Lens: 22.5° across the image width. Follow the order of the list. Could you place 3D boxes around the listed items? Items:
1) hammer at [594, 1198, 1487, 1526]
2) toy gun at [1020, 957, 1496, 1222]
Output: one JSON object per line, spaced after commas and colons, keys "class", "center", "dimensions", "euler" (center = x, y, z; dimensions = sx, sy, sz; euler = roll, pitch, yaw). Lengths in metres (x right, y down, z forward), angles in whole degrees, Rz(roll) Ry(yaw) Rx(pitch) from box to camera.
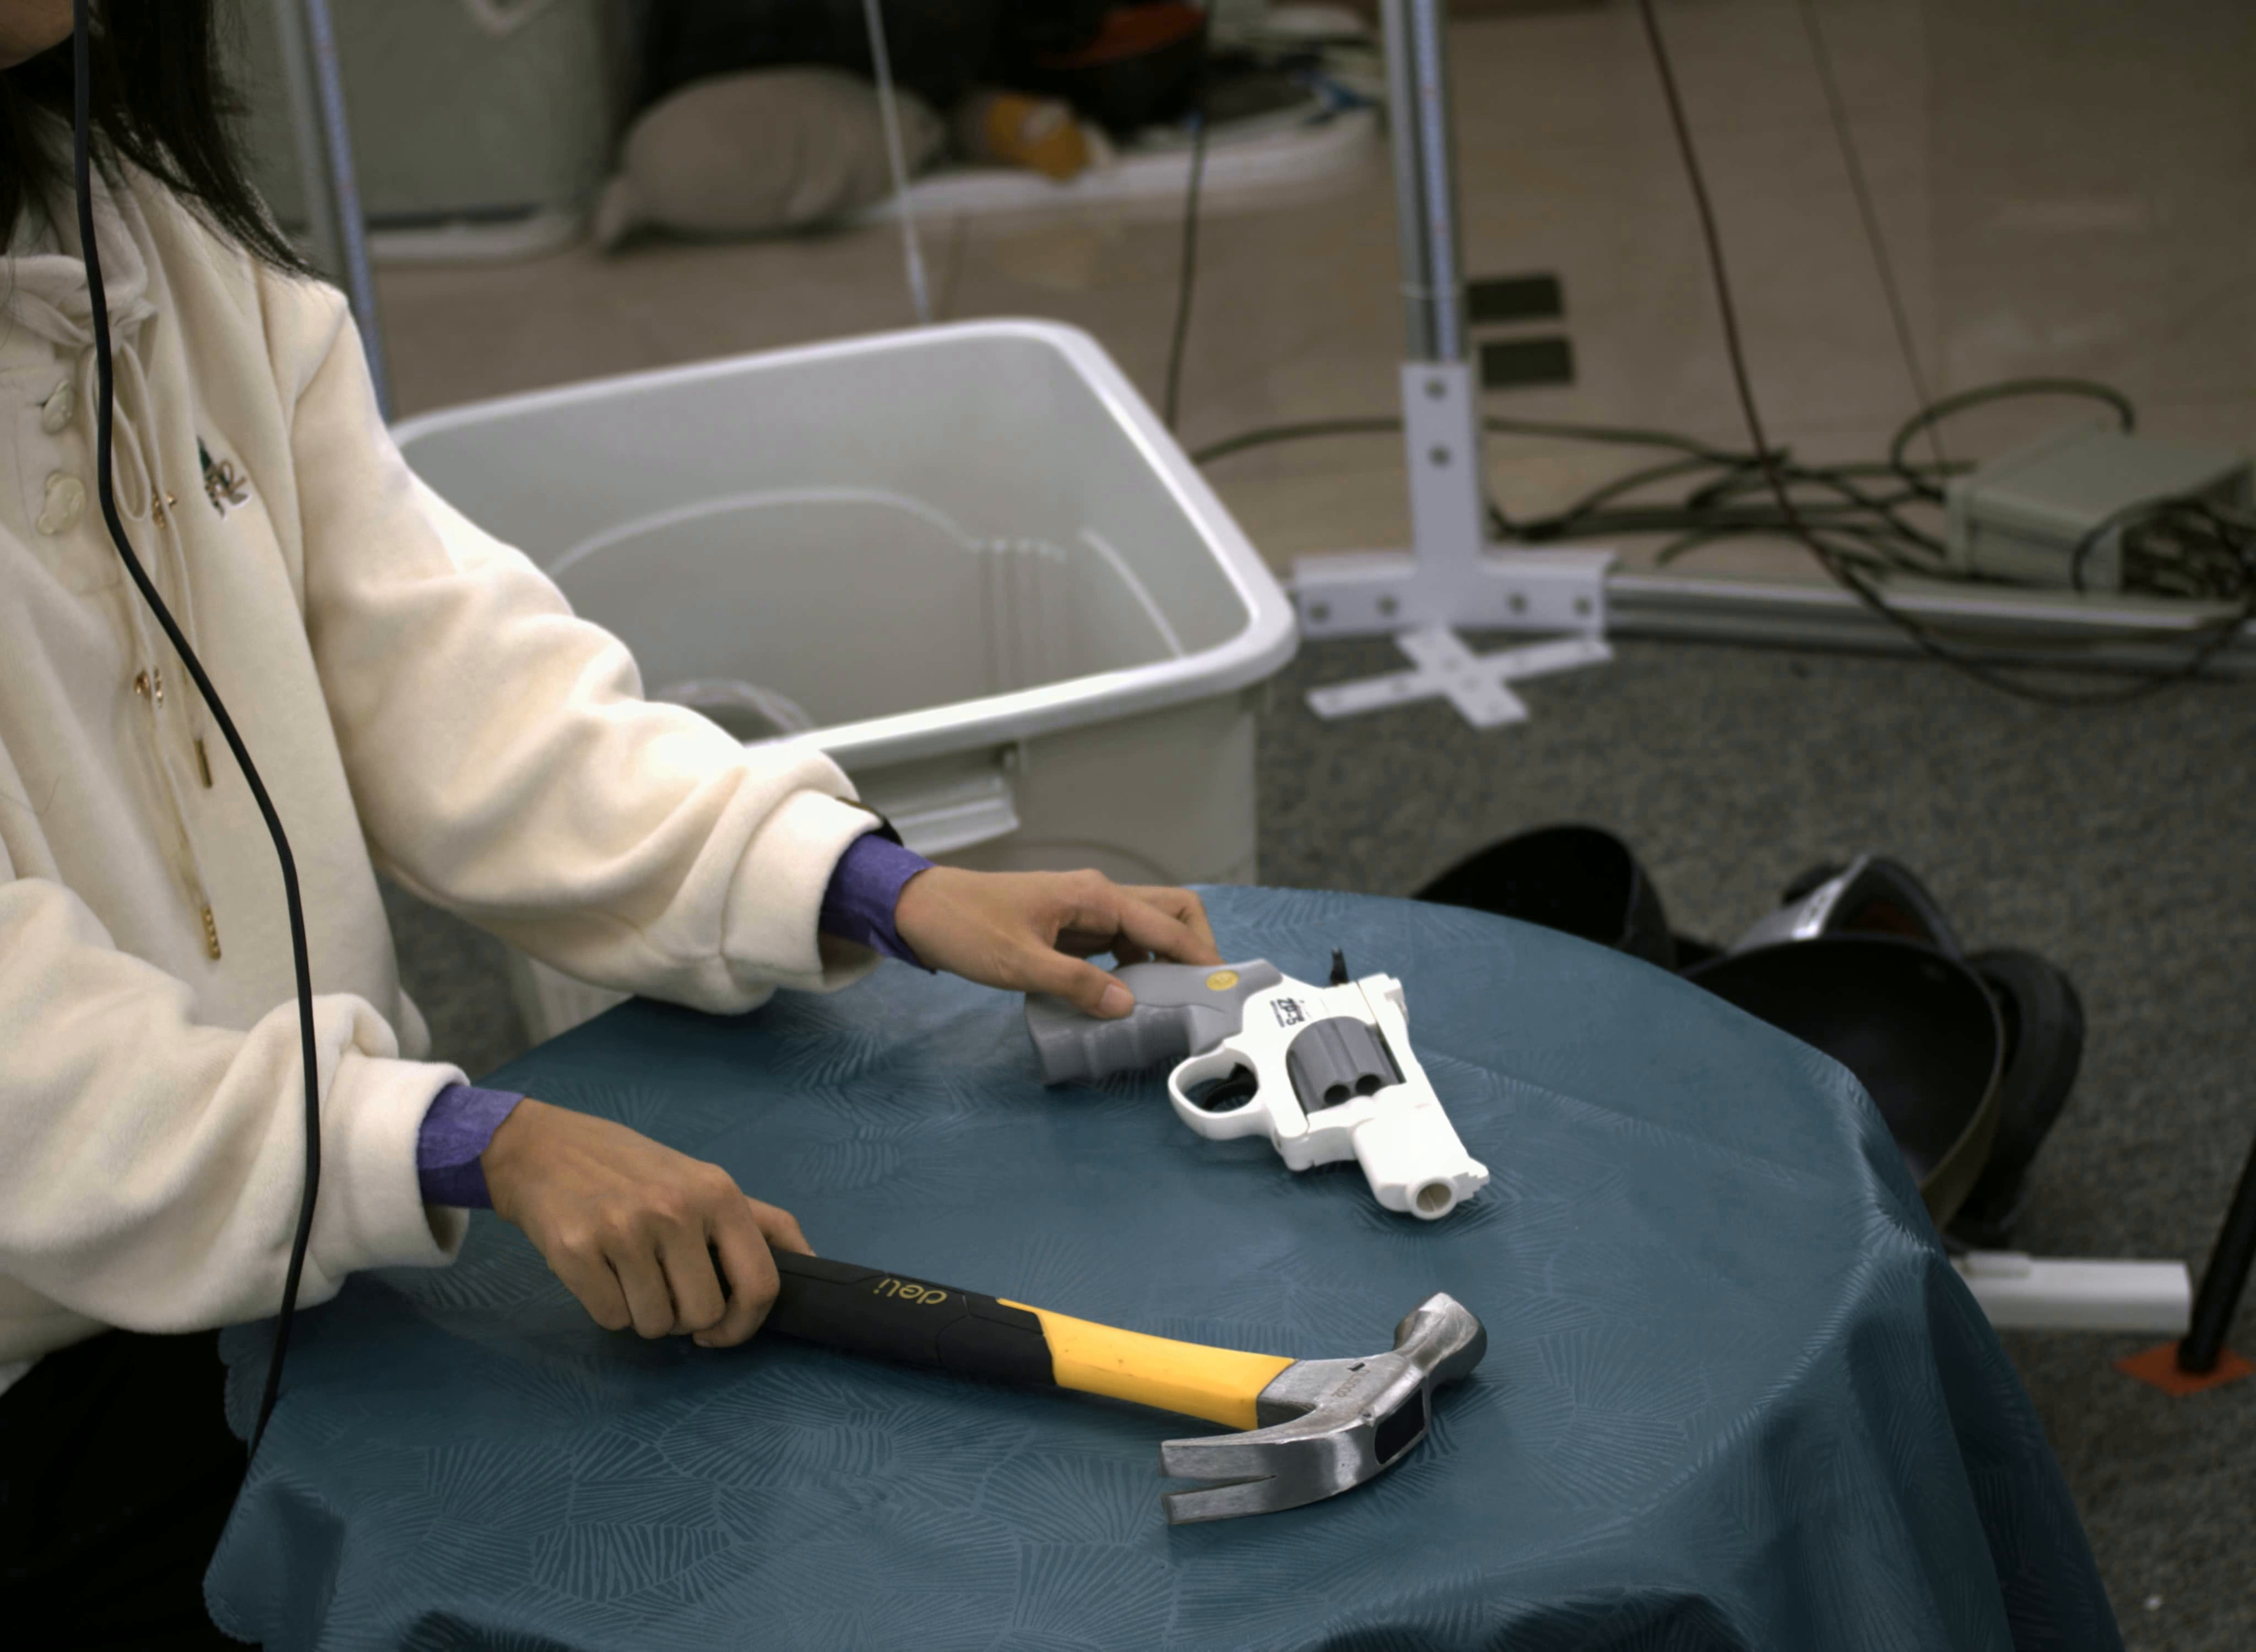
{"class": "hammer", "center": [-0.049, 0.179, 2.030], "dimensions": [0.337, 0.033, 0.130], "euler": [11, 32, 30]}
{"class": "toy gun", "center": [0.046, 0.101, 2.174], "dimensions": [0.141, 0.039, 0.206], "euler": [-19, 35, -5]}
